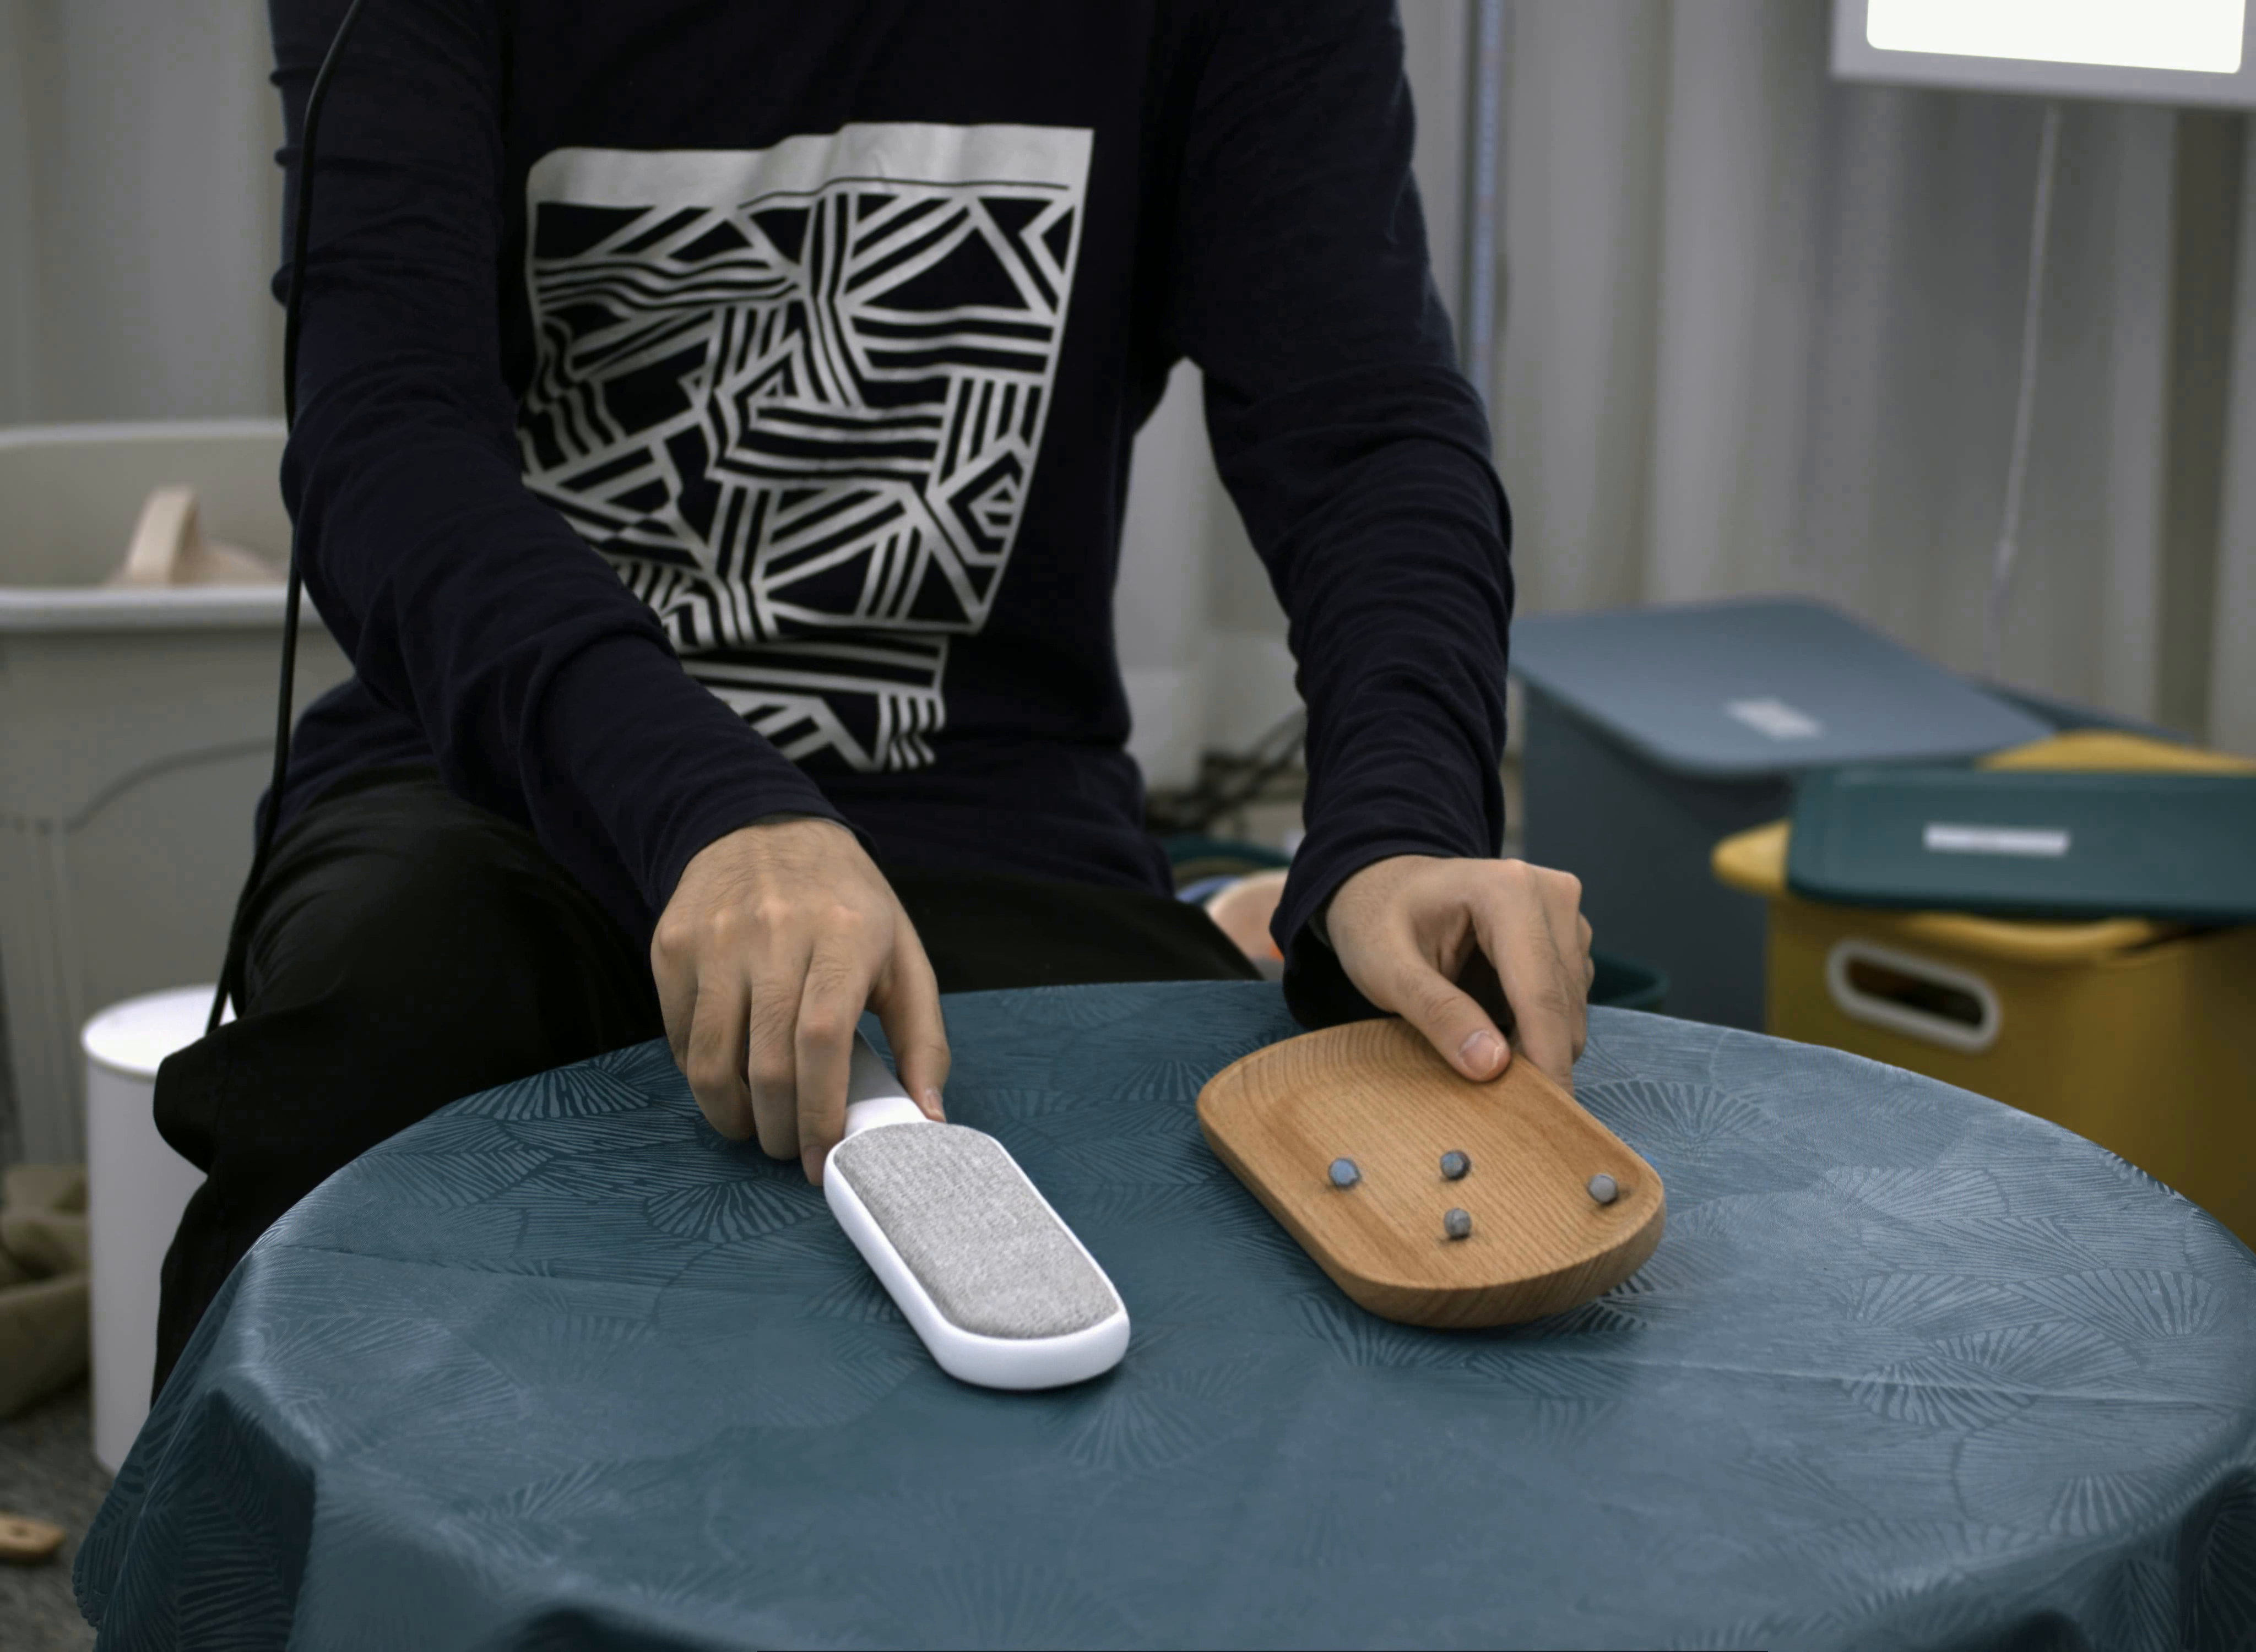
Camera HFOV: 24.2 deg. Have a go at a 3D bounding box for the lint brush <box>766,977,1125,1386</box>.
[{"bbox_3d":[-0.063,0.102,1.589,0.060,0.021,0.305,-12,21,-14],"label":"lint brush"}]

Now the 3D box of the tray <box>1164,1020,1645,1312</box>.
[{"bbox_3d":[0.082,0.101,1.604,0.102,0.020,0.229,-12,16,-15],"label":"tray"}]
